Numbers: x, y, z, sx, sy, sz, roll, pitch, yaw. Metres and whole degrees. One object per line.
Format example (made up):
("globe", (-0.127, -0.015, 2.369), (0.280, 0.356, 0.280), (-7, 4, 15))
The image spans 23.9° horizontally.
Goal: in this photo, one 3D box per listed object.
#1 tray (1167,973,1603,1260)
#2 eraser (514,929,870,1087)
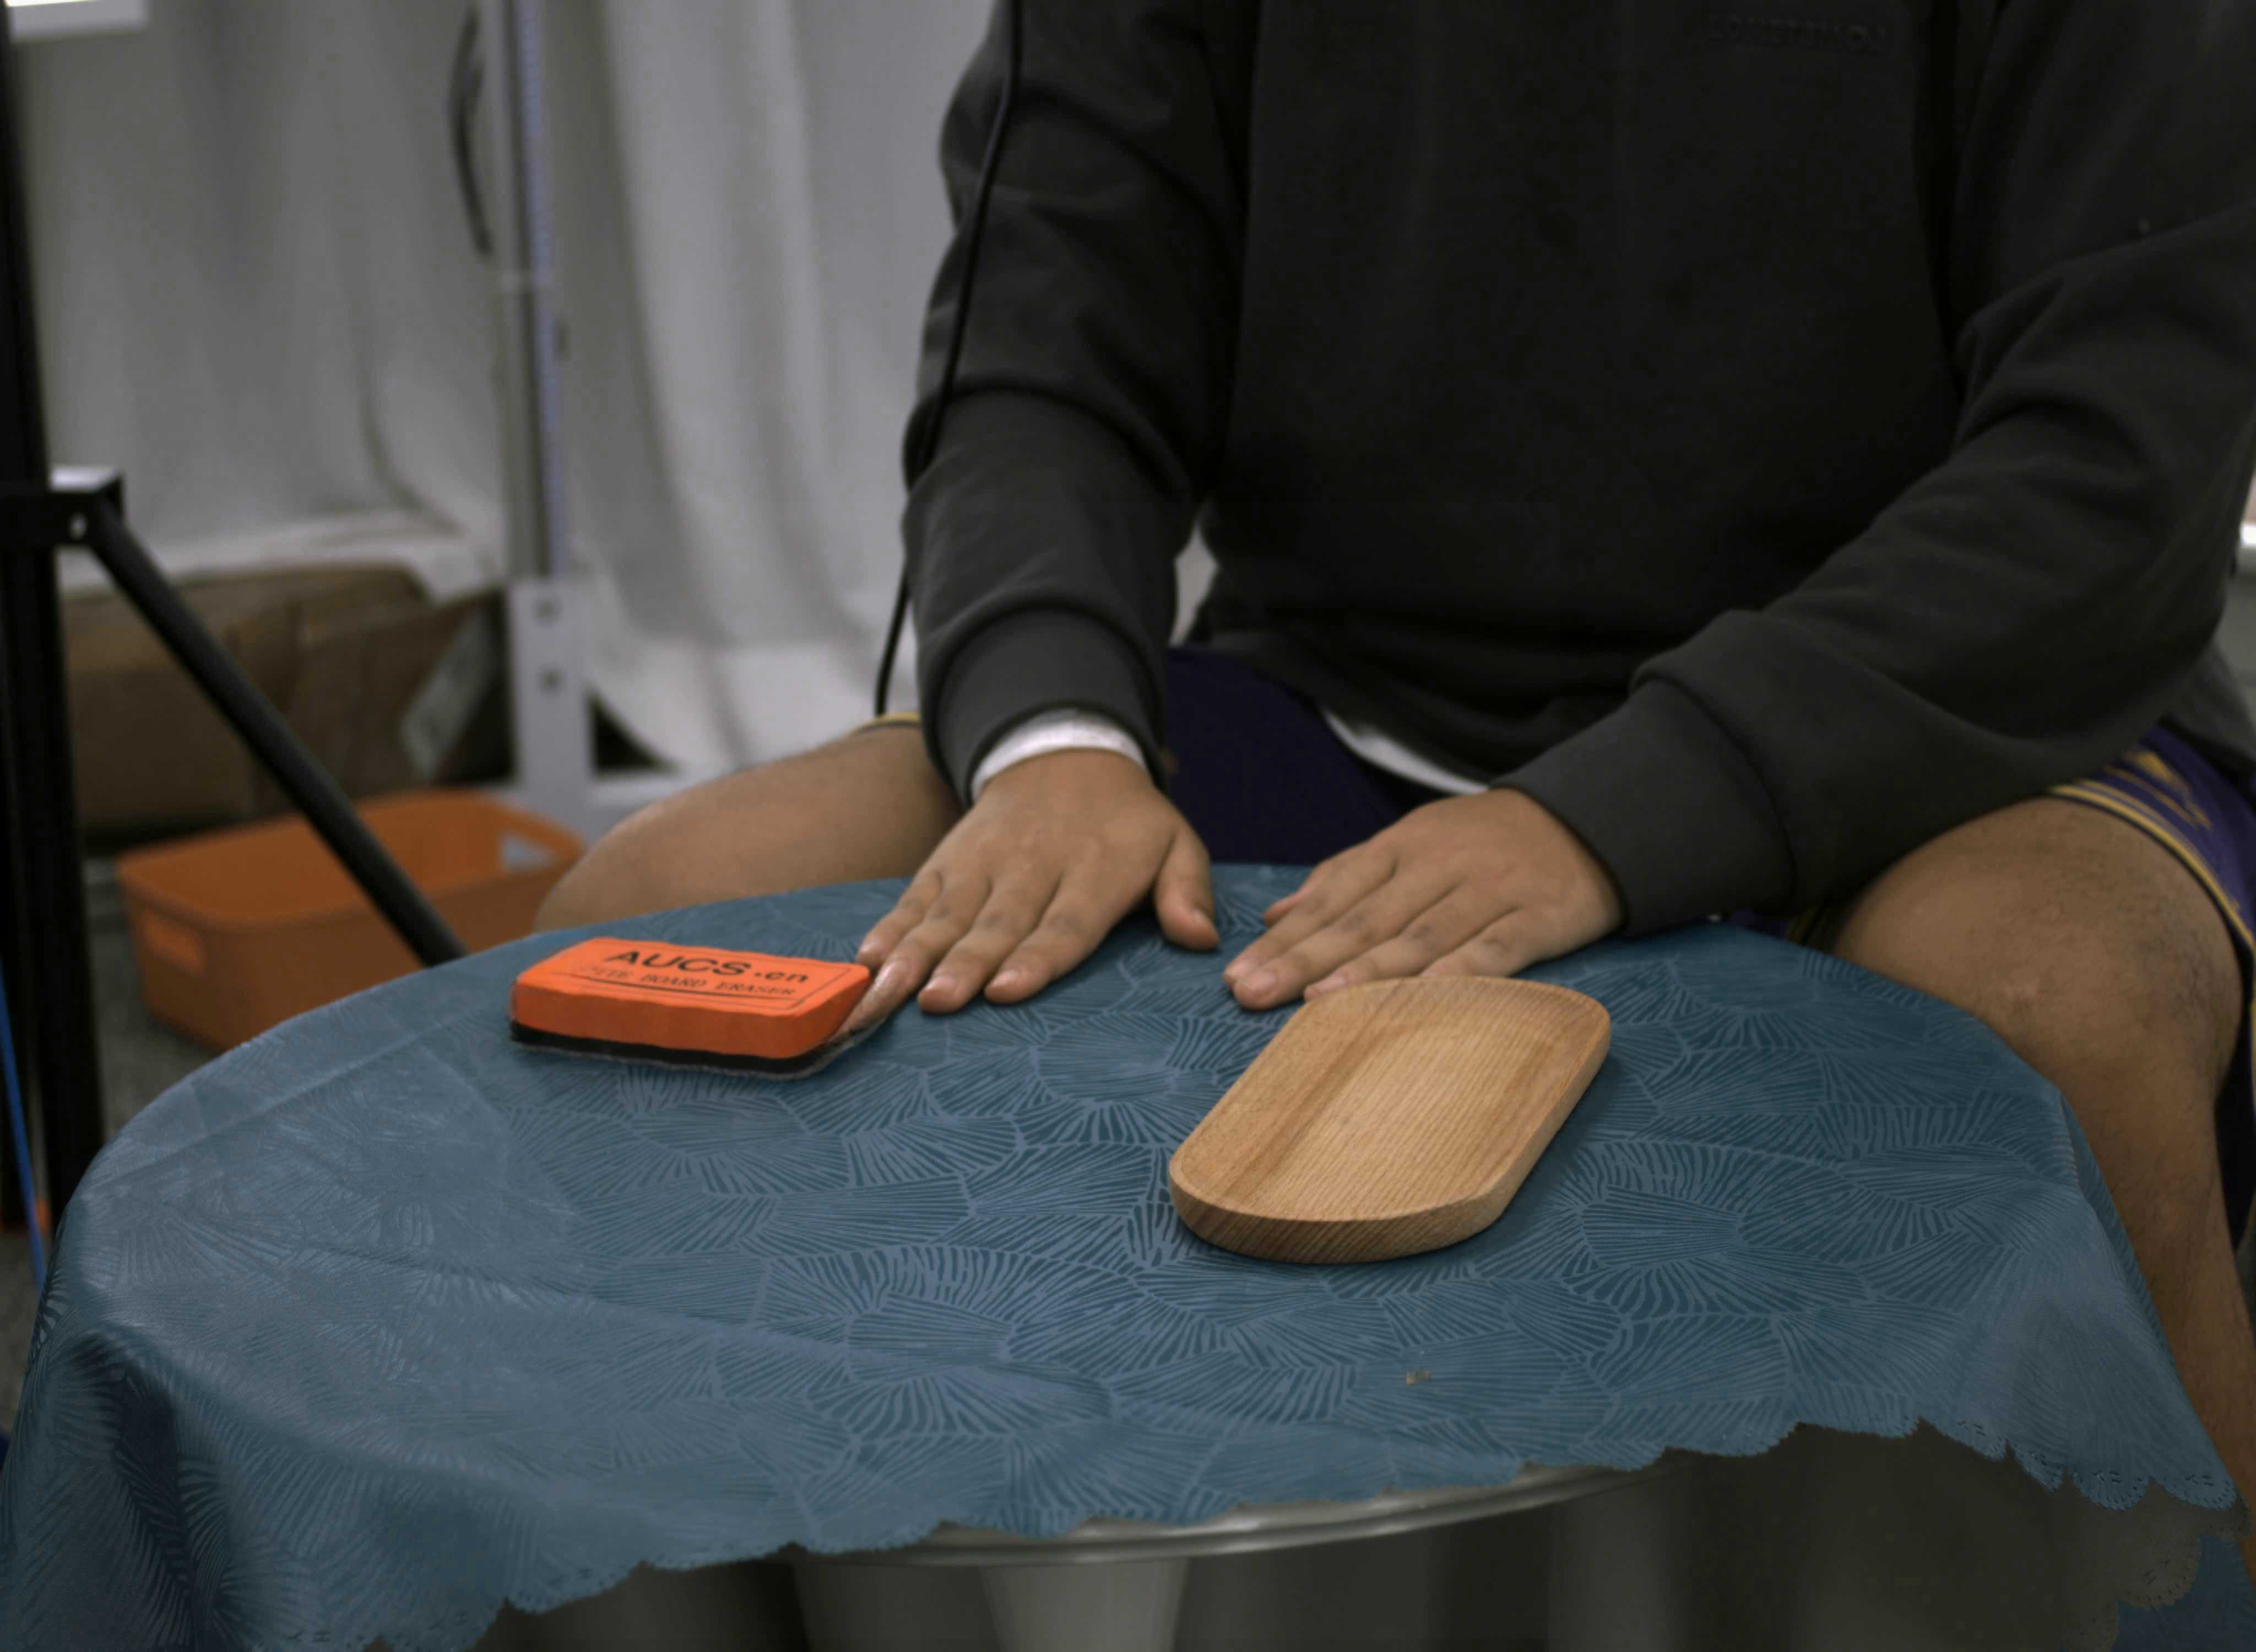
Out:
("tray", (0.080, 0.085, 1.597), (0.102, 0.020, 0.229), (3, 16, 16))
("eraser", (-0.140, 0.058, 1.717), (0.110, 0.023, 0.058), (5, 25, 27))
